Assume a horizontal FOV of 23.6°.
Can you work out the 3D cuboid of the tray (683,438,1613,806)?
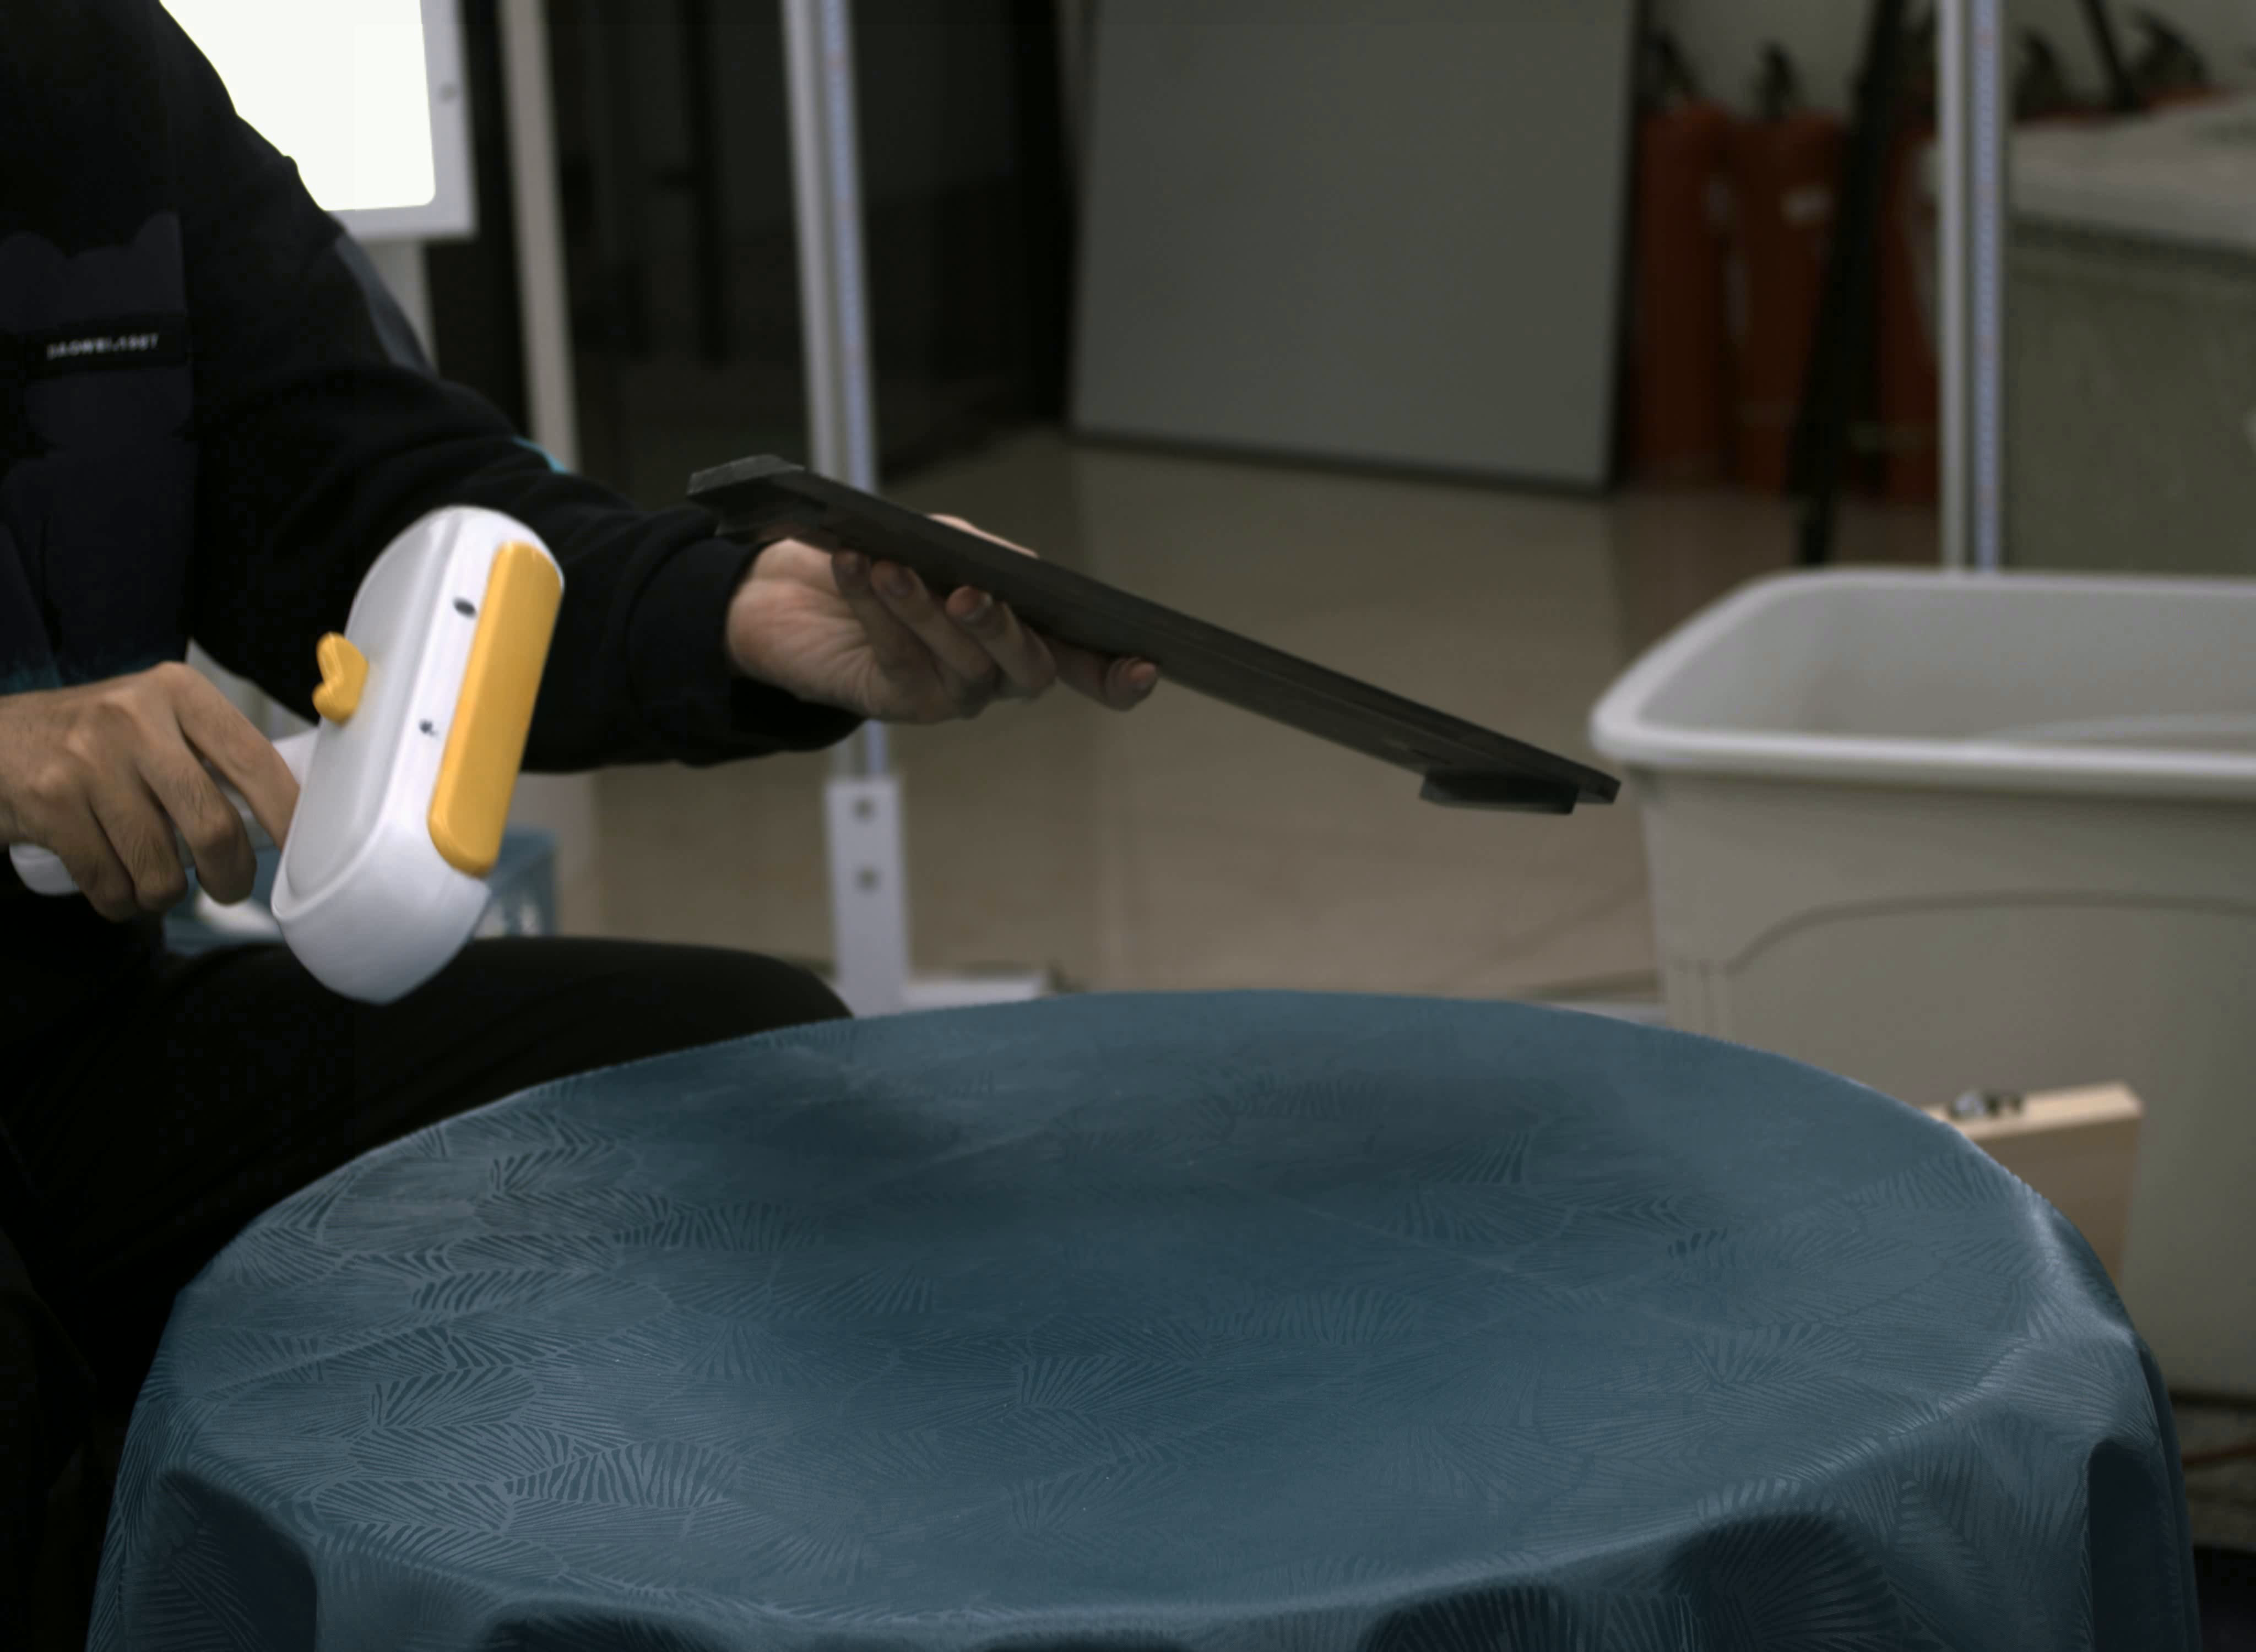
[{"bbox_3d":[0.002,-0.062,1.788,0.301,0.019,0.171,21,-4,-11],"label":"tray"}]

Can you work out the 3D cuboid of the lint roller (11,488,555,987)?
[{"bbox_3d":[-0.275,-0.010,1.762,0.193,0.073,0.194,-28,40,26],"label":"lint roller"}]
